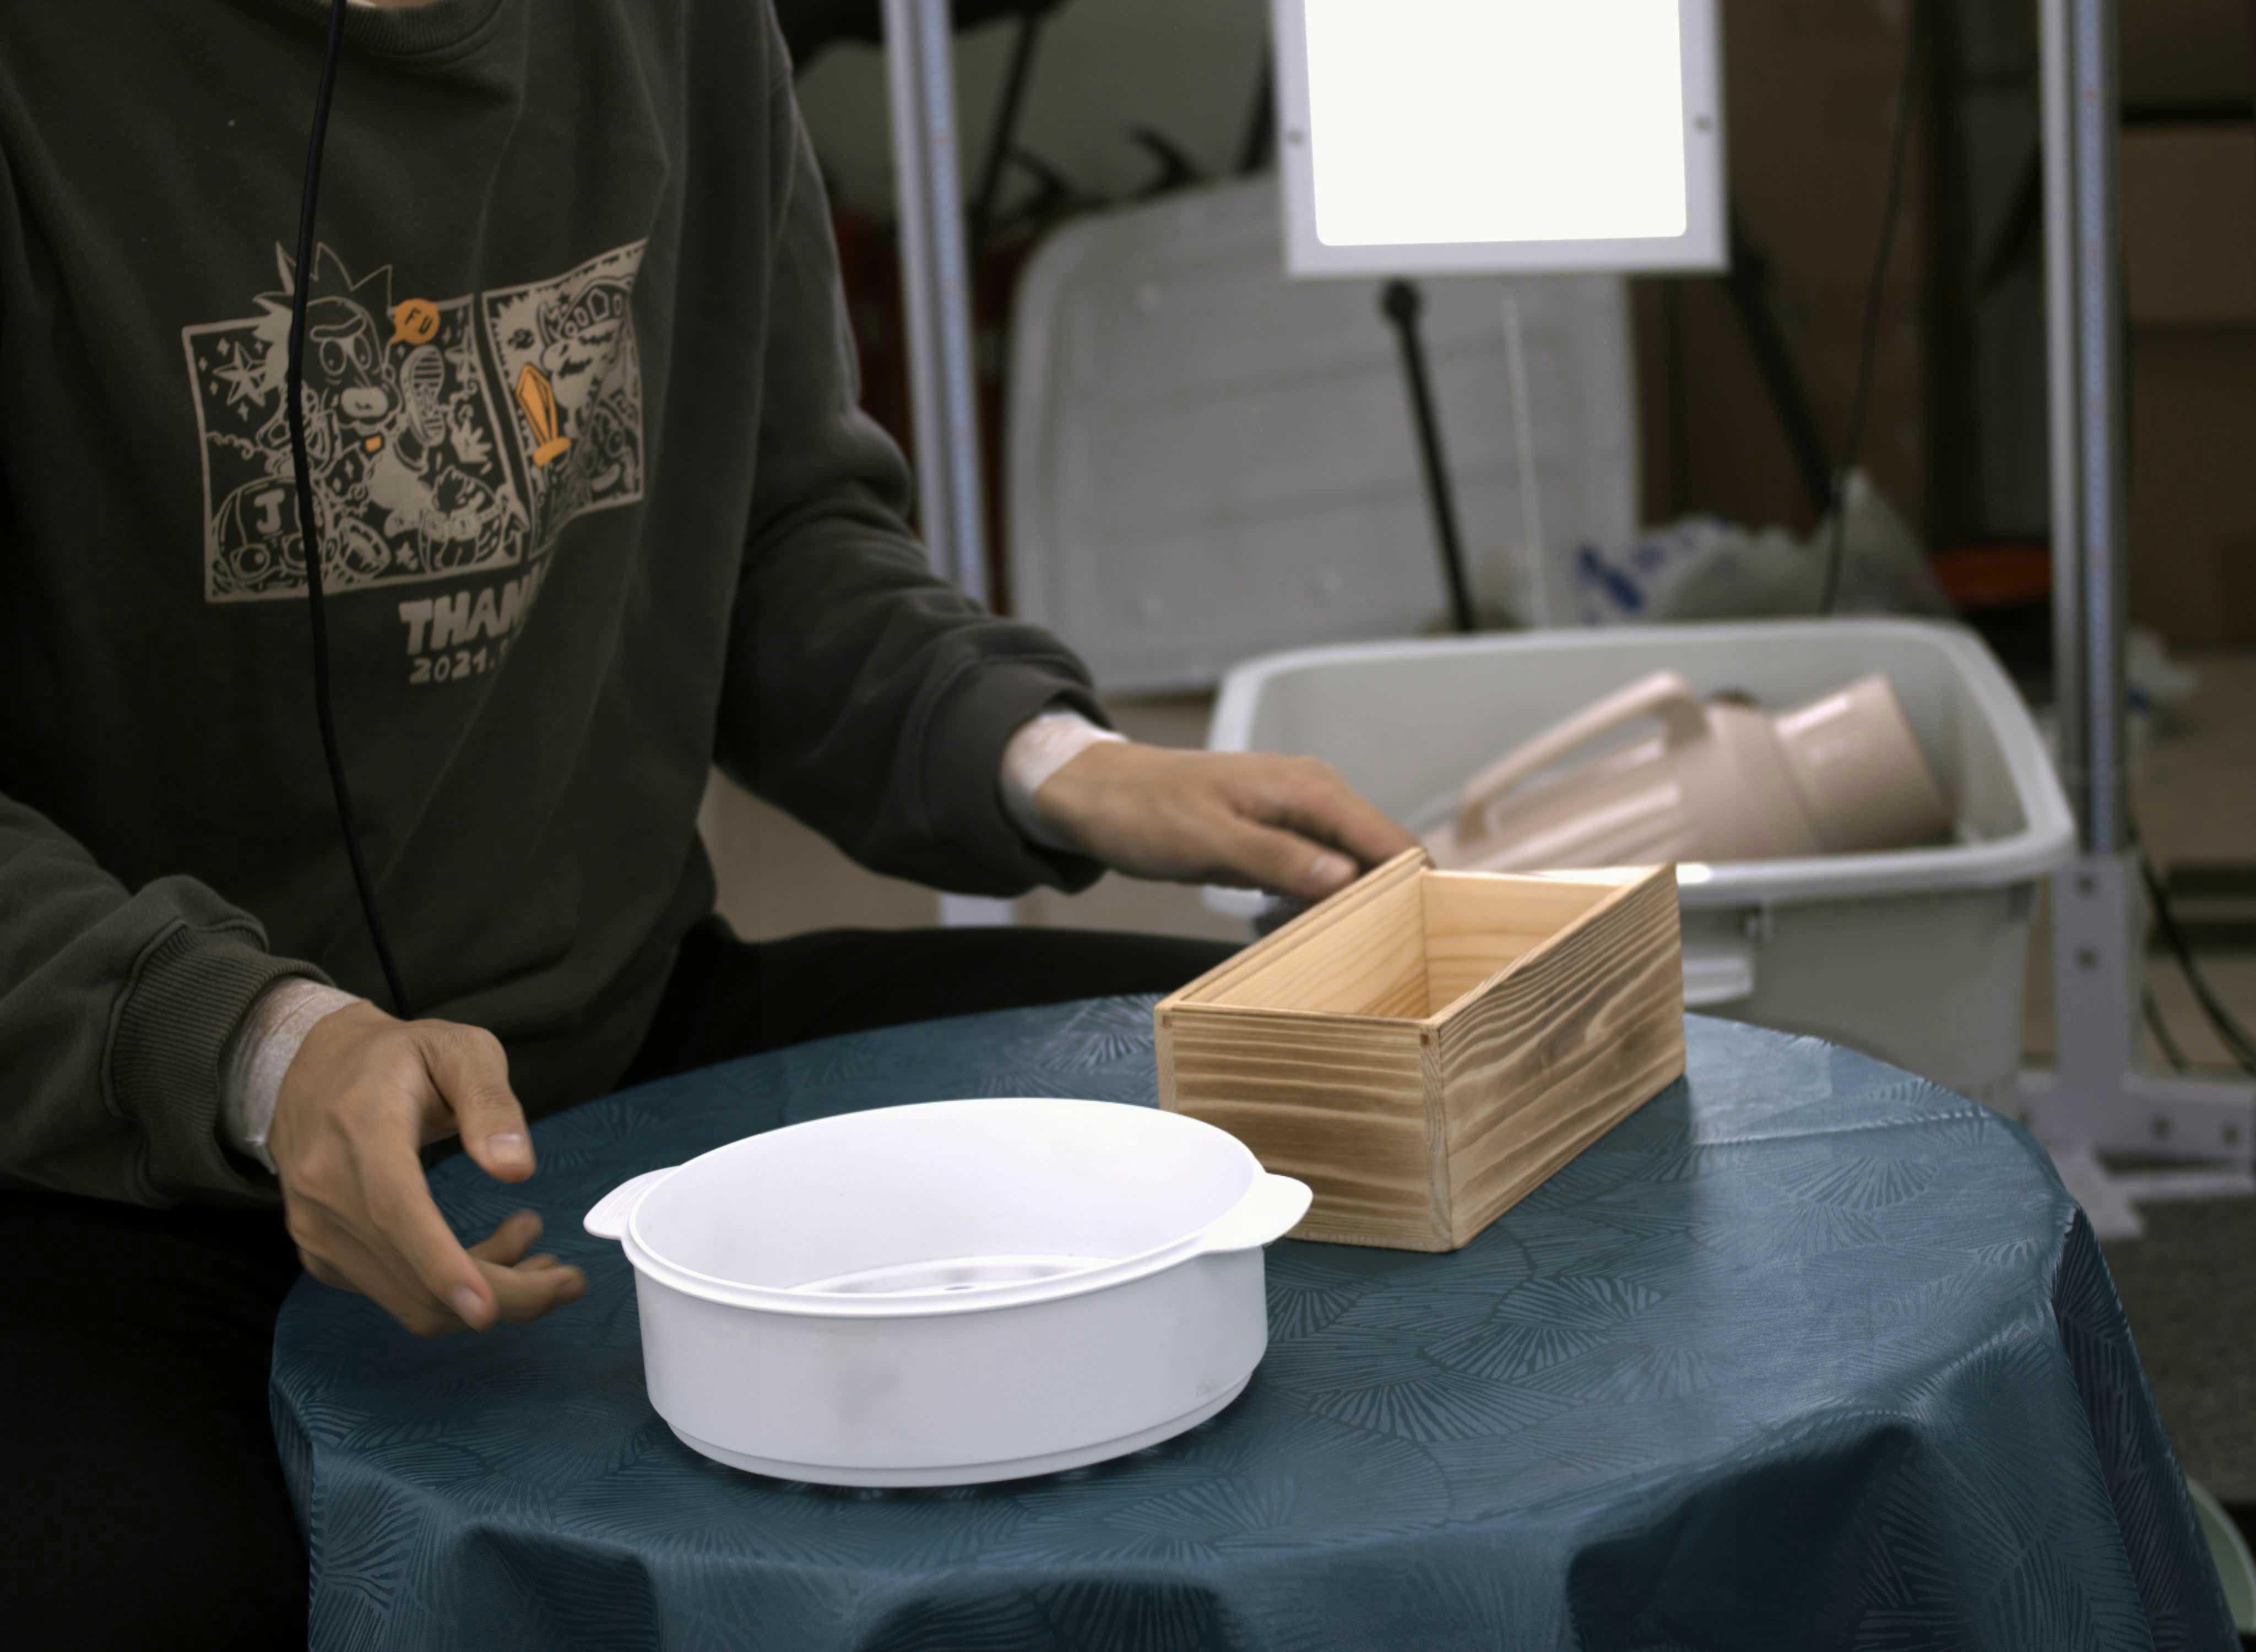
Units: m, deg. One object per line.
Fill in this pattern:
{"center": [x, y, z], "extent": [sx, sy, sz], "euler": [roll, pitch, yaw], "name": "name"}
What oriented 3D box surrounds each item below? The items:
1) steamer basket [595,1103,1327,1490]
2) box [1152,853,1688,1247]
{"center": [-0.050, 0.144, 1.702], "extent": [0.233, 0.069, 0.198], "euler": [-1, 13, 19], "name": "steamer basket"}
{"center": [0.105, 0.074, 1.903], "extent": [0.109, 0.080, 0.207], "euler": [2, 15, 28], "name": "box"}
